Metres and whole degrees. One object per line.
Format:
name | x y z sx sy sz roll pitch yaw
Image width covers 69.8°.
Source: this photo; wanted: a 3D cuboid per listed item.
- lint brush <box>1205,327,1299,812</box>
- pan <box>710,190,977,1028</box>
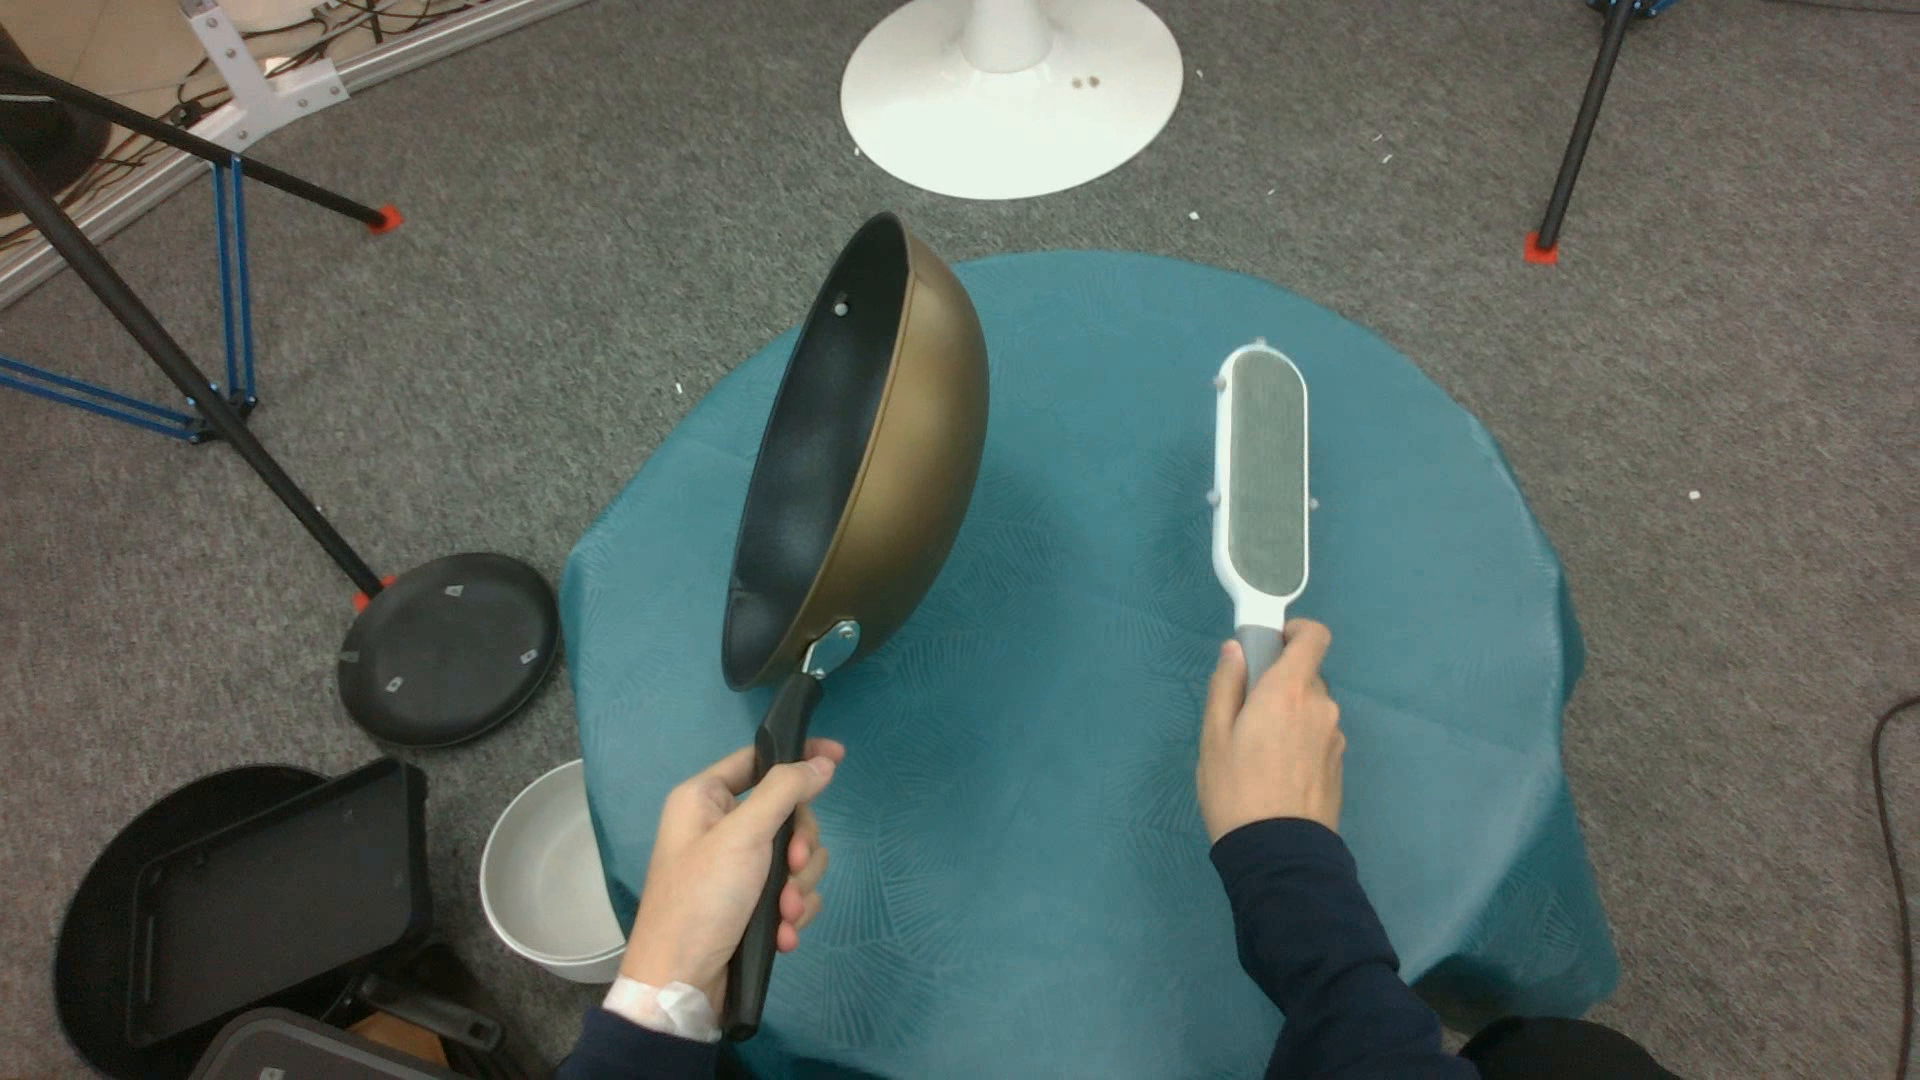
lint brush | 0.163 0.004 0.775 0.060 0.021 0.310 18 58 -18
pan | -0.062 0.023 0.723 0.087 0.286 0.465 17 49 -19
